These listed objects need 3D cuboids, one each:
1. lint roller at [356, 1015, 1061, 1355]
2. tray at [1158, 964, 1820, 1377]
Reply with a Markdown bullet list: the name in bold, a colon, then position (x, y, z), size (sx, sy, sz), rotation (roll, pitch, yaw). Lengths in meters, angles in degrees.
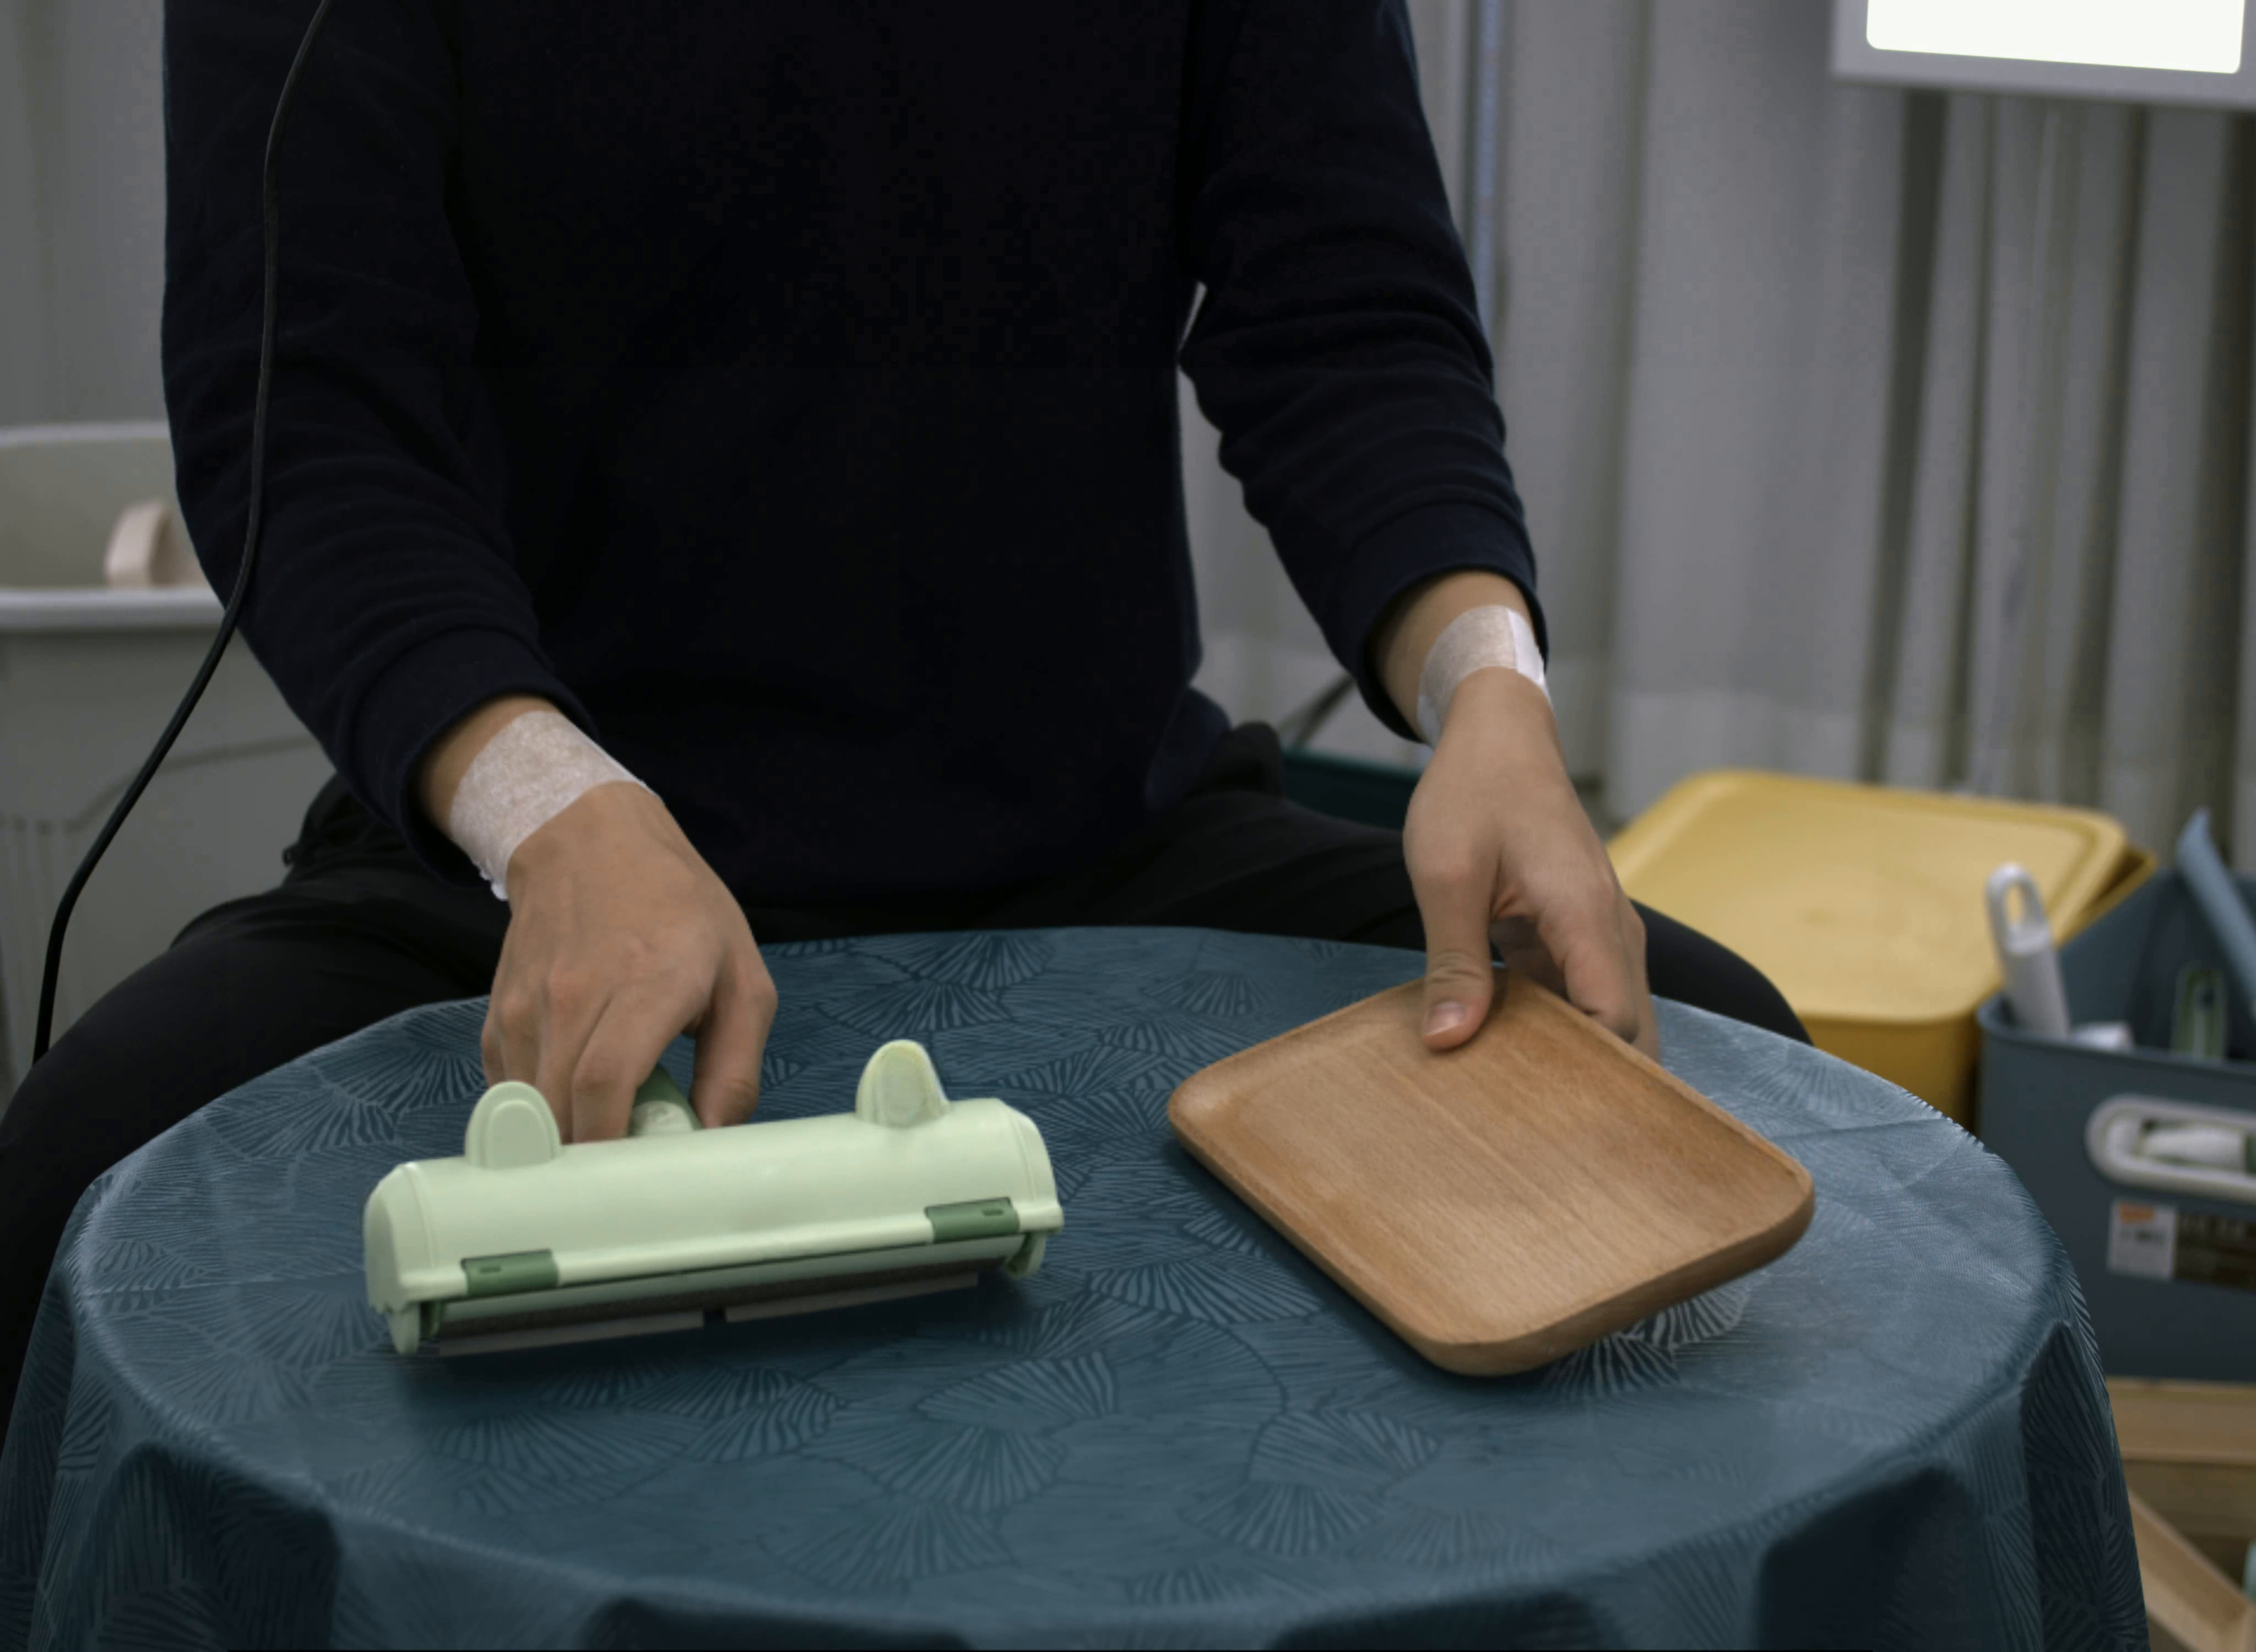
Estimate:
- **lint roller**: position (-0.138, 0.080, 1.542), size (0.199, 0.083, 0.181), rotation (-5, 30, -21)
- **tray**: position (0.104, 0.100, 1.581), size (0.130, 0.023, 0.248), rotation (-19, 20, -15)
